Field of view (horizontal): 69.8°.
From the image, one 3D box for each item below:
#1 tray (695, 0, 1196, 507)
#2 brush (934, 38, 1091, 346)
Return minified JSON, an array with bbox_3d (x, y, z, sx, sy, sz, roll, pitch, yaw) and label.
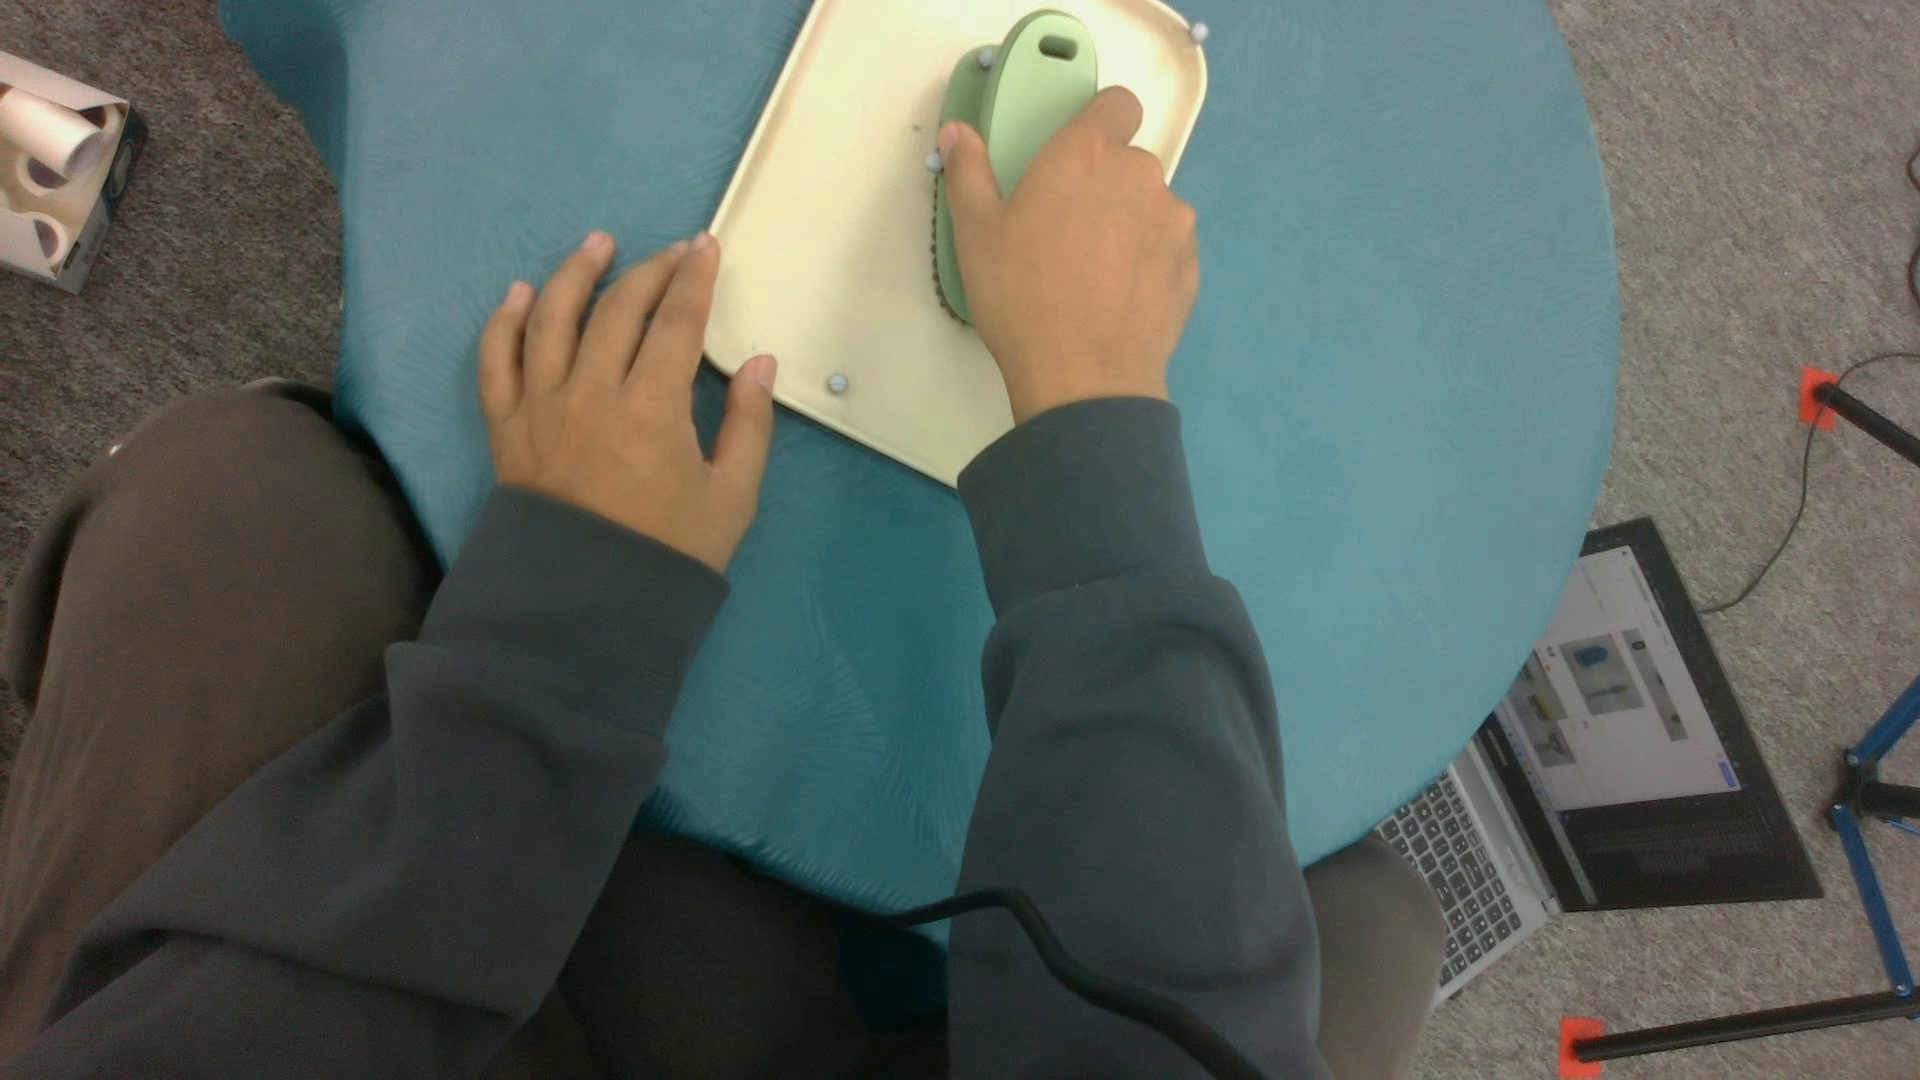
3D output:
[{"bbox_3d":[-0.001,-0.146,0.601,0.171,0.017,0.240,24,80,-15],"label":"tray"},{"bbox_3d":[0.021,-0.145,0.587,0.060,0.076,0.123,2,100,-17],"label":"brush"}]
